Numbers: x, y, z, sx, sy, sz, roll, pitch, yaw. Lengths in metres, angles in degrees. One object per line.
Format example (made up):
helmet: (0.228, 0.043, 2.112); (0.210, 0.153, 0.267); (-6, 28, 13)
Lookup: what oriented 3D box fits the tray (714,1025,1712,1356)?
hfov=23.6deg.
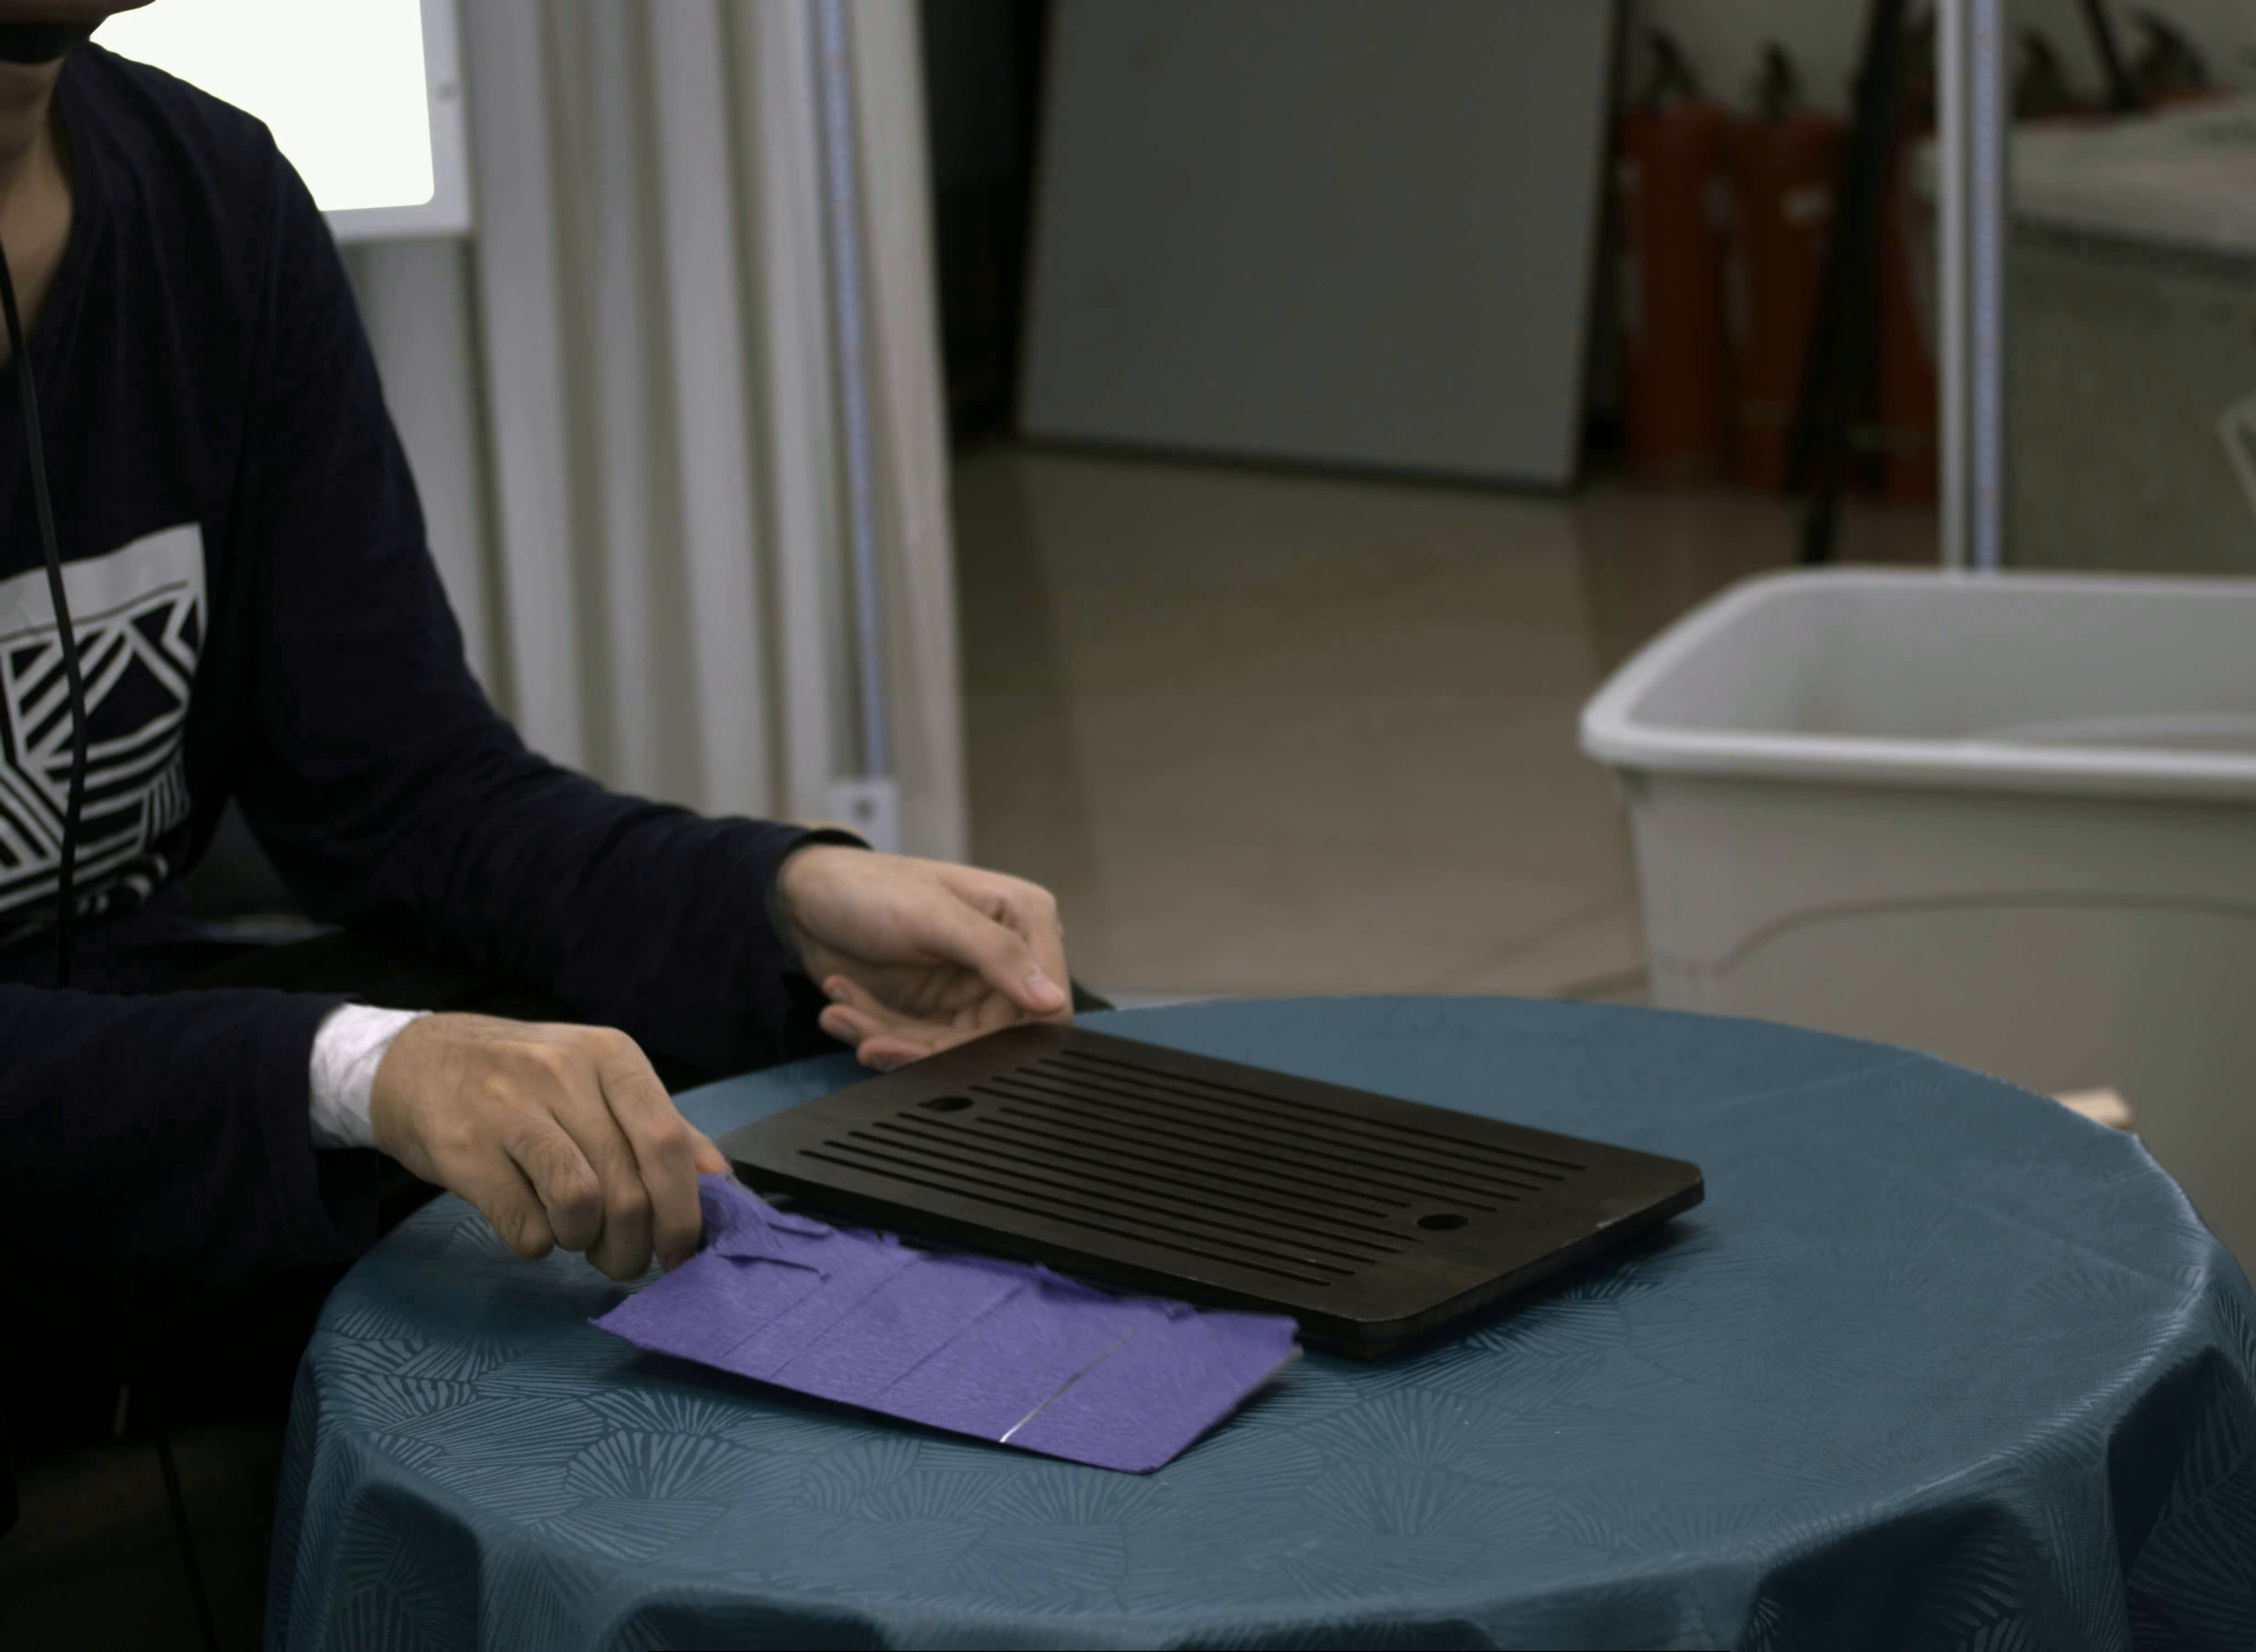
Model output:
tray: (0.024, 0.115, 1.744); (0.308, 0.019, 0.167); (9, 20, 43)

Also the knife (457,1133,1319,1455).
knife: (-0.097, 0.140, 1.636); (0.317, 0.032, 0.102); (7, 25, 35)
